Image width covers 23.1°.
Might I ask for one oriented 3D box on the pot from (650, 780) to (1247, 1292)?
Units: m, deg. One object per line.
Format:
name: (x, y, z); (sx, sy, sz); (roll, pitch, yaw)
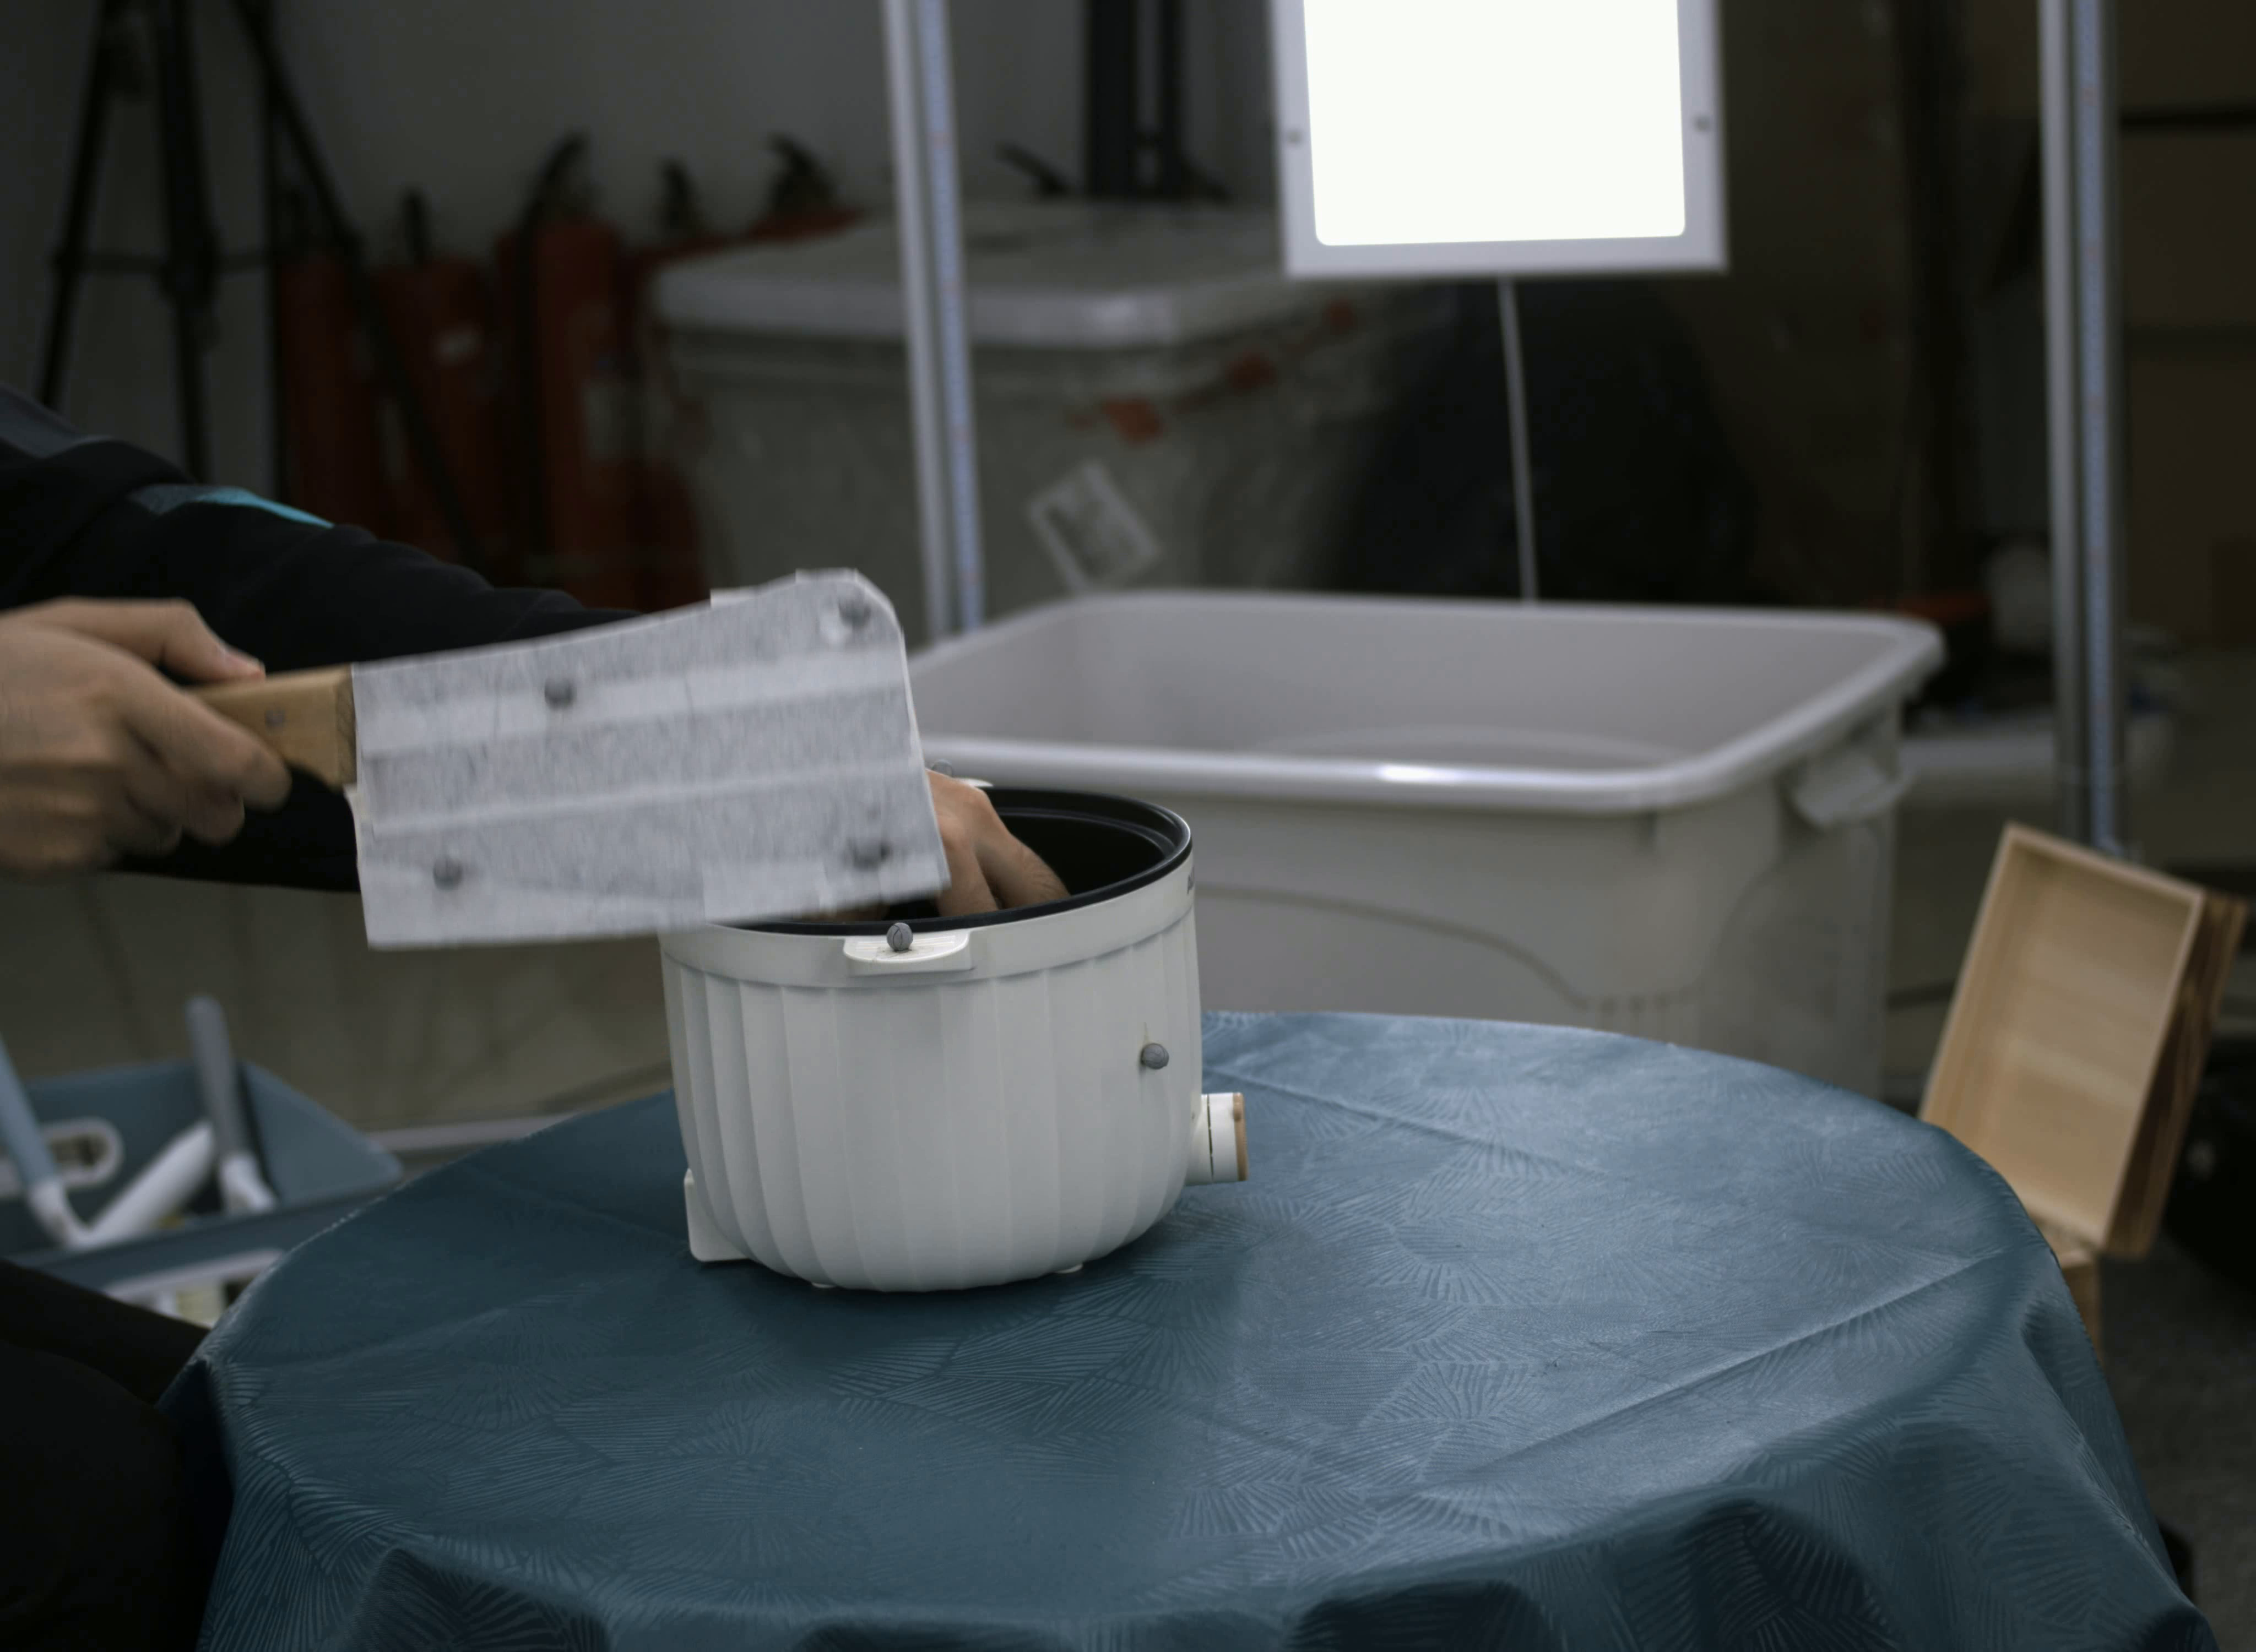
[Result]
pot: (-0.060, 0.072, 1.849); (0.190, 0.143, 0.239); (-7, 15, 4)

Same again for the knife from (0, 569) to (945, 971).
knife: (-0.208, -0.013, 1.675); (0.319, 0.114, 0.021); (-3, 3, 17)
